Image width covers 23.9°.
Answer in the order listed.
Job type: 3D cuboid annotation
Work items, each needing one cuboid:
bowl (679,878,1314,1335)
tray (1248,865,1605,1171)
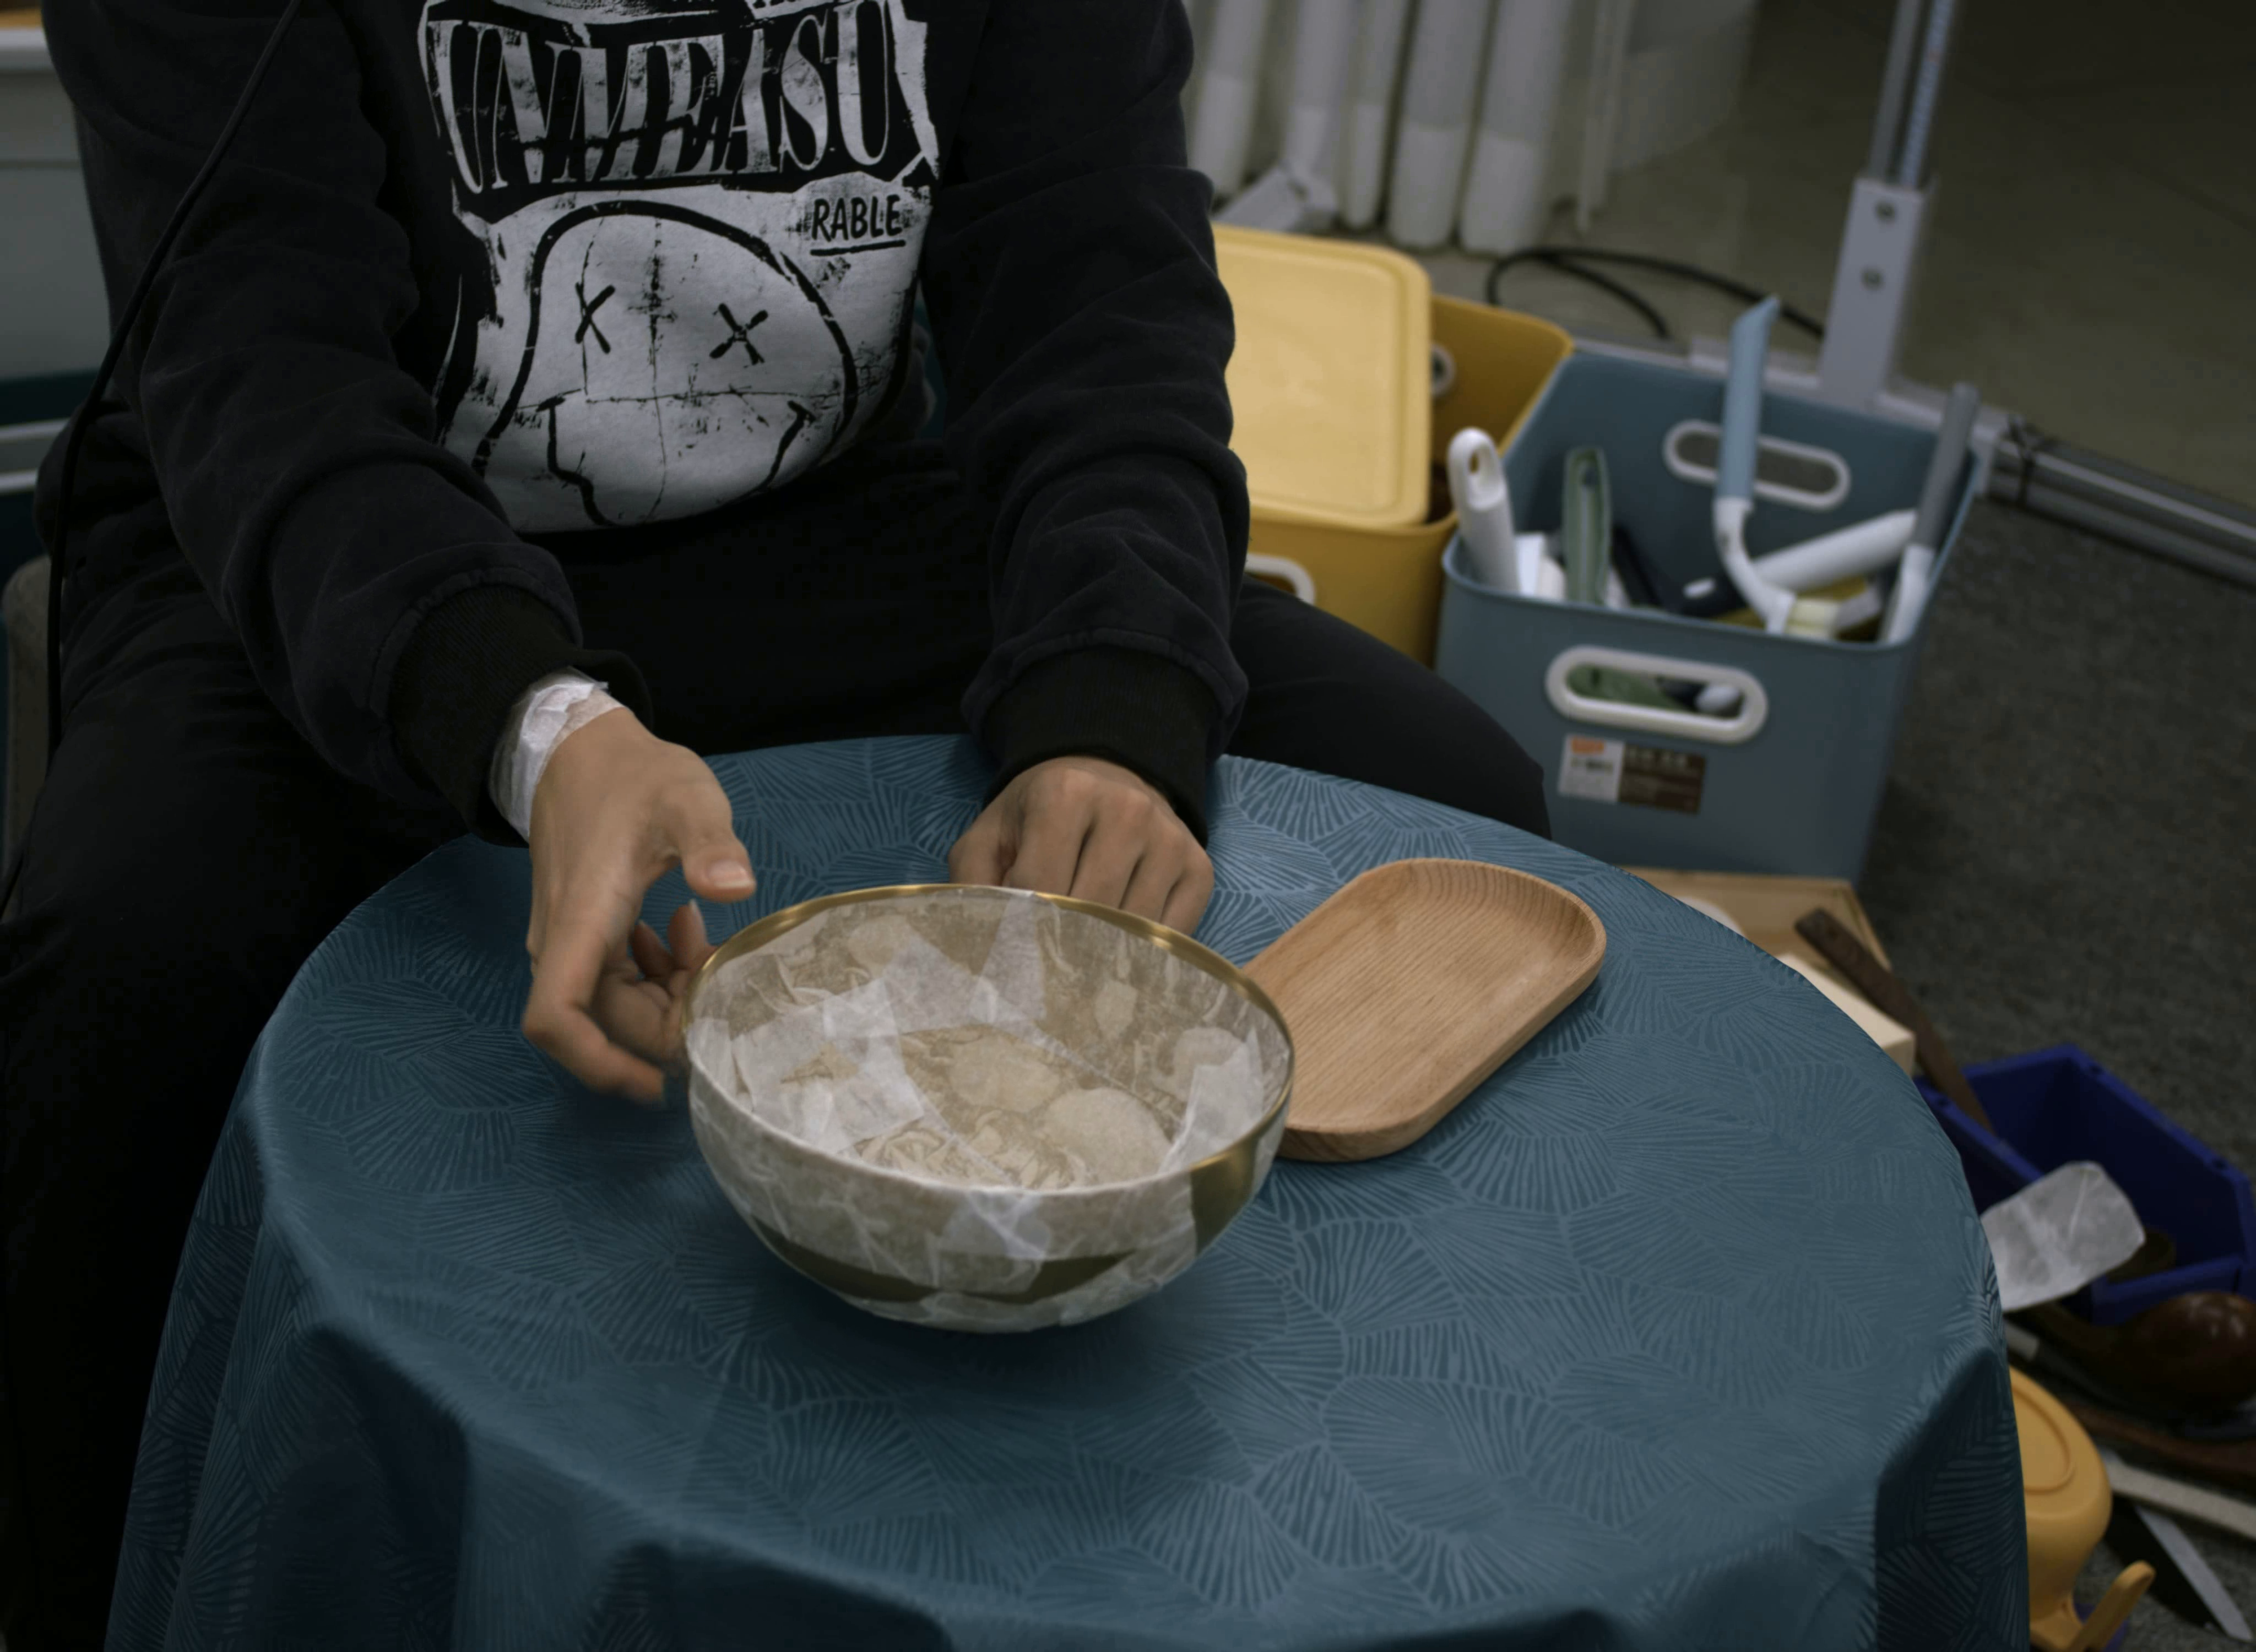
[{"bbox_3d":[-0.045,0.103,1.729,0.214,0.094,0.216,4,26,-2],"label":"bowl"},{"bbox_3d":[0.095,0.067,1.916,0.102,0.020,0.231,16,30,24],"label":"tray"}]
